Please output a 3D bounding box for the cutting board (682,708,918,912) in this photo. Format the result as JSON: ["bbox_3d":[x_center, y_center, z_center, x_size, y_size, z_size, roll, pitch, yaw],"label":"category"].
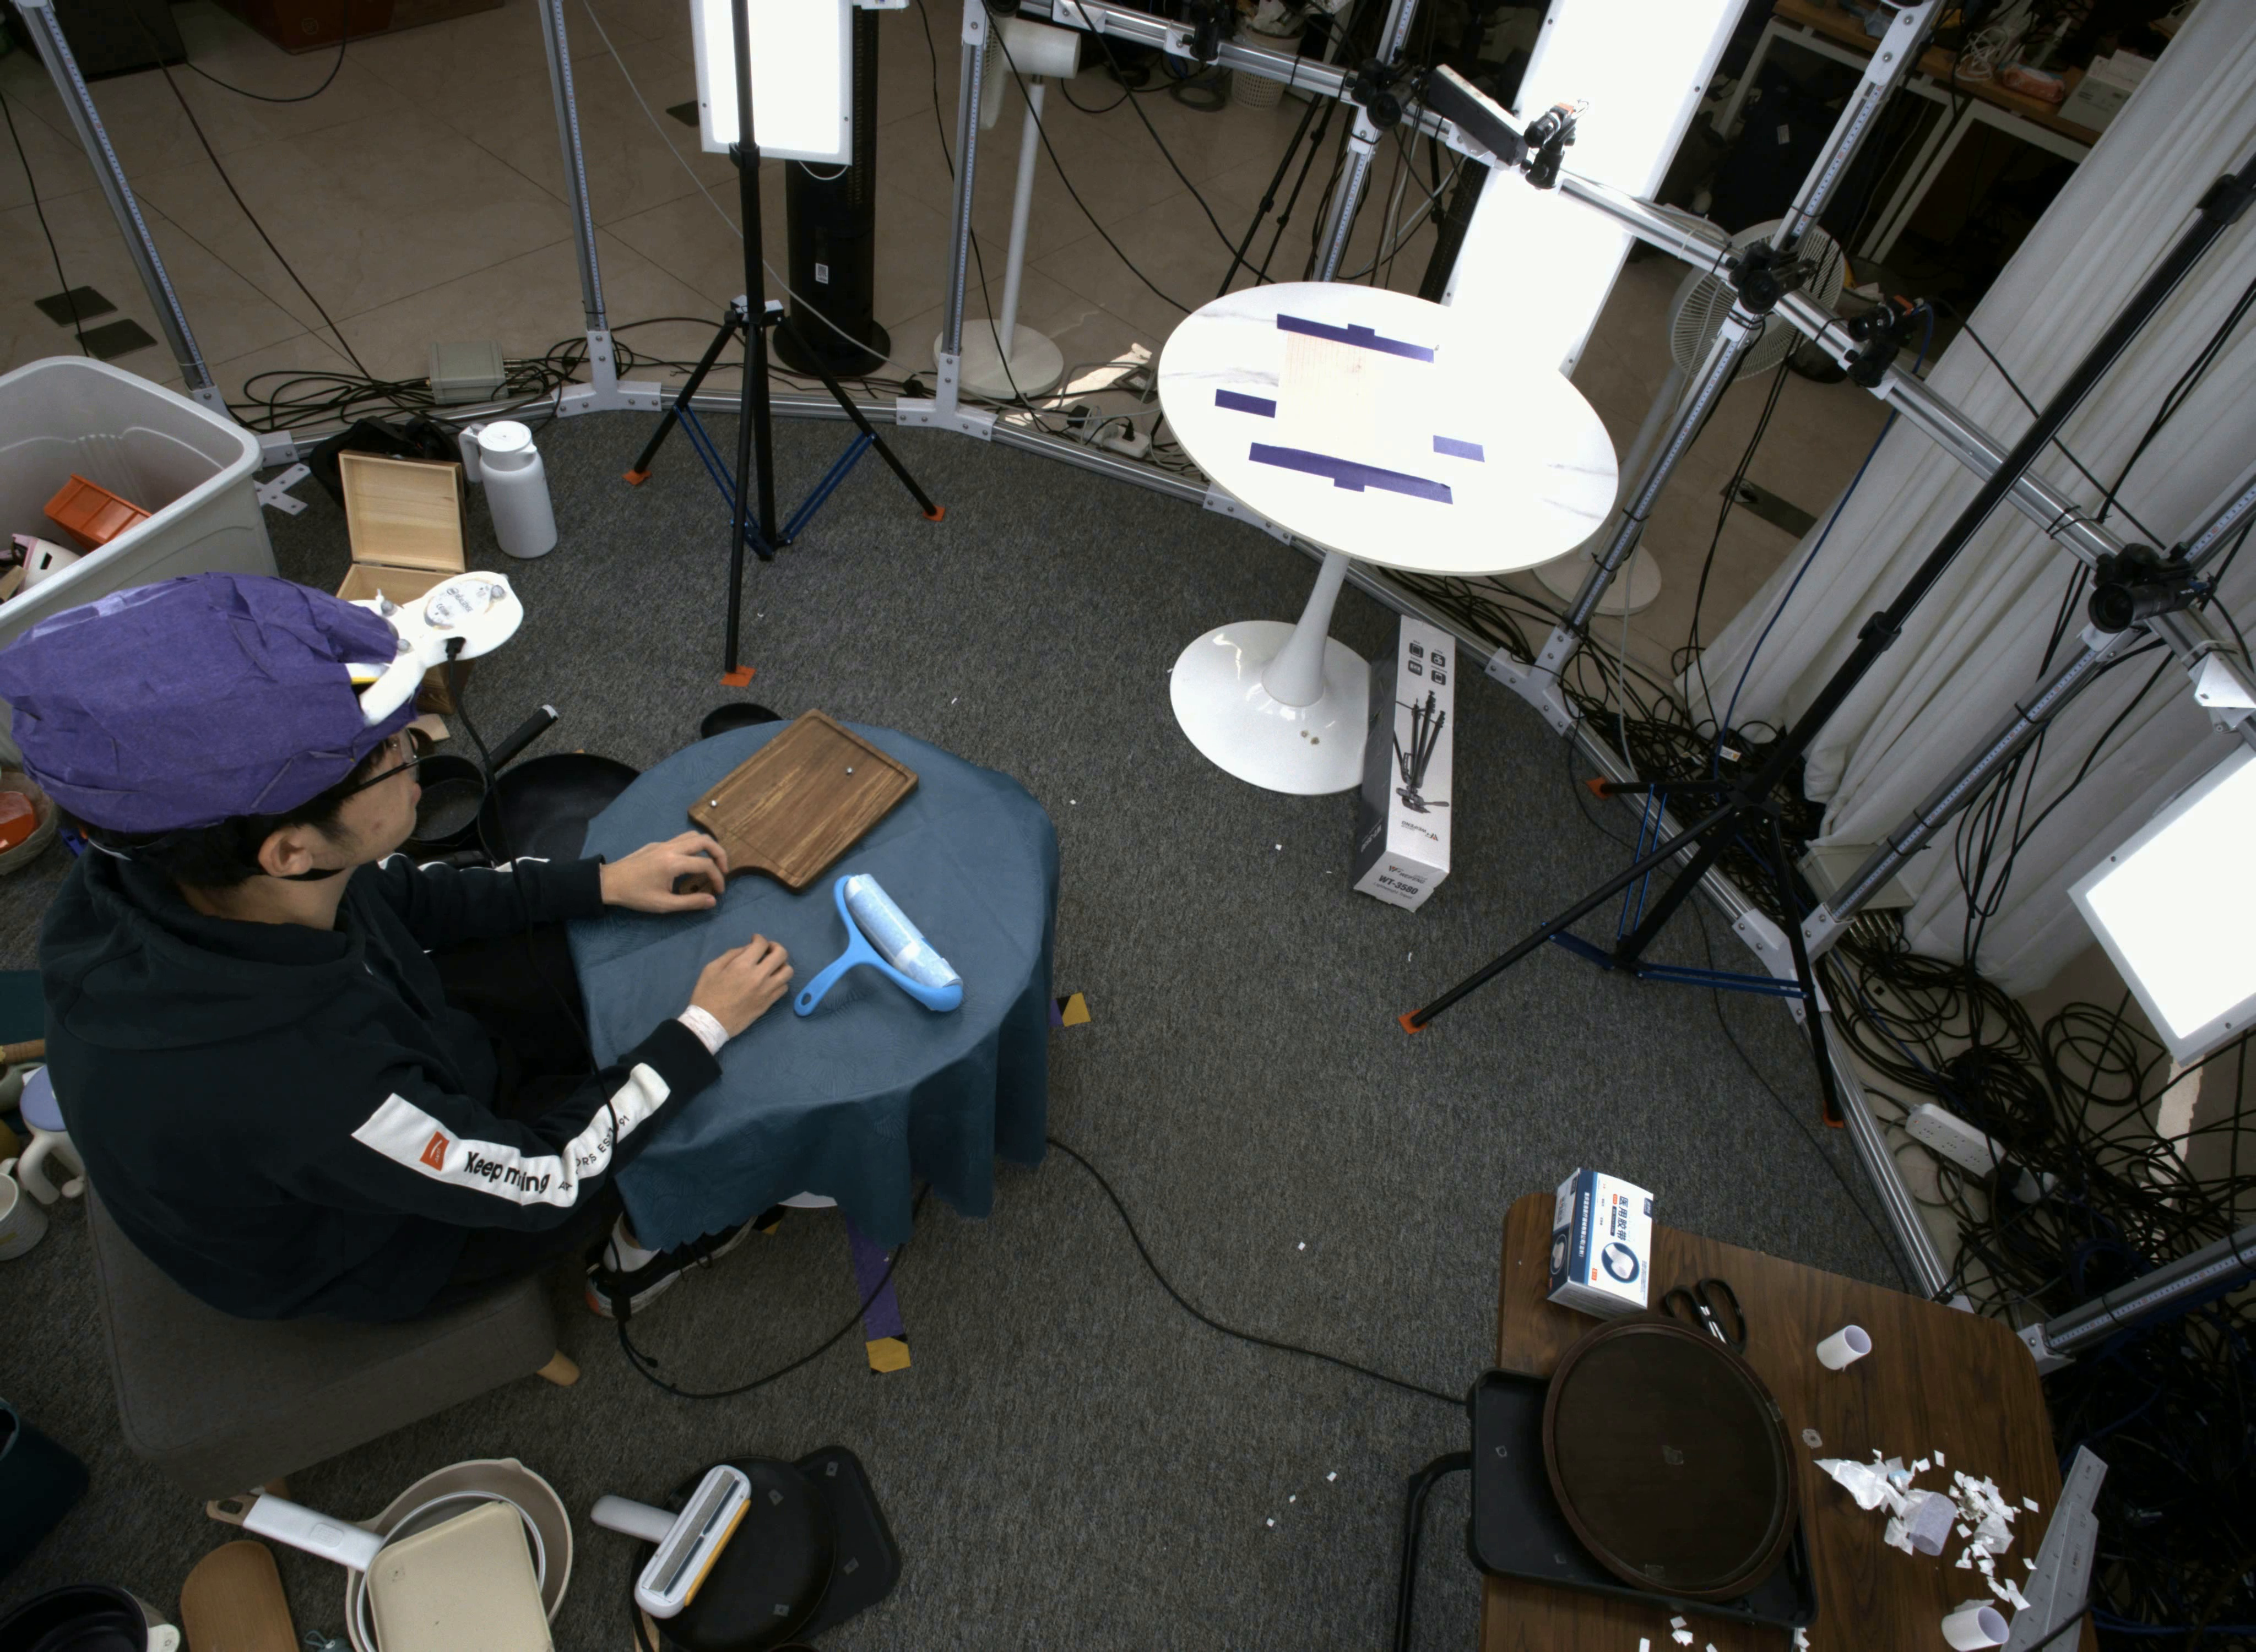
[{"bbox_3d":[-0.460,-0.011,1.714,0.197,0.023,0.351,32,53,11],"label":"cutting board"}]

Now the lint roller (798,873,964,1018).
[{"bbox_3d":[-0.326,0.168,1.595,0.224,0.069,0.181,43,55,16],"label":"lint roller"}]
